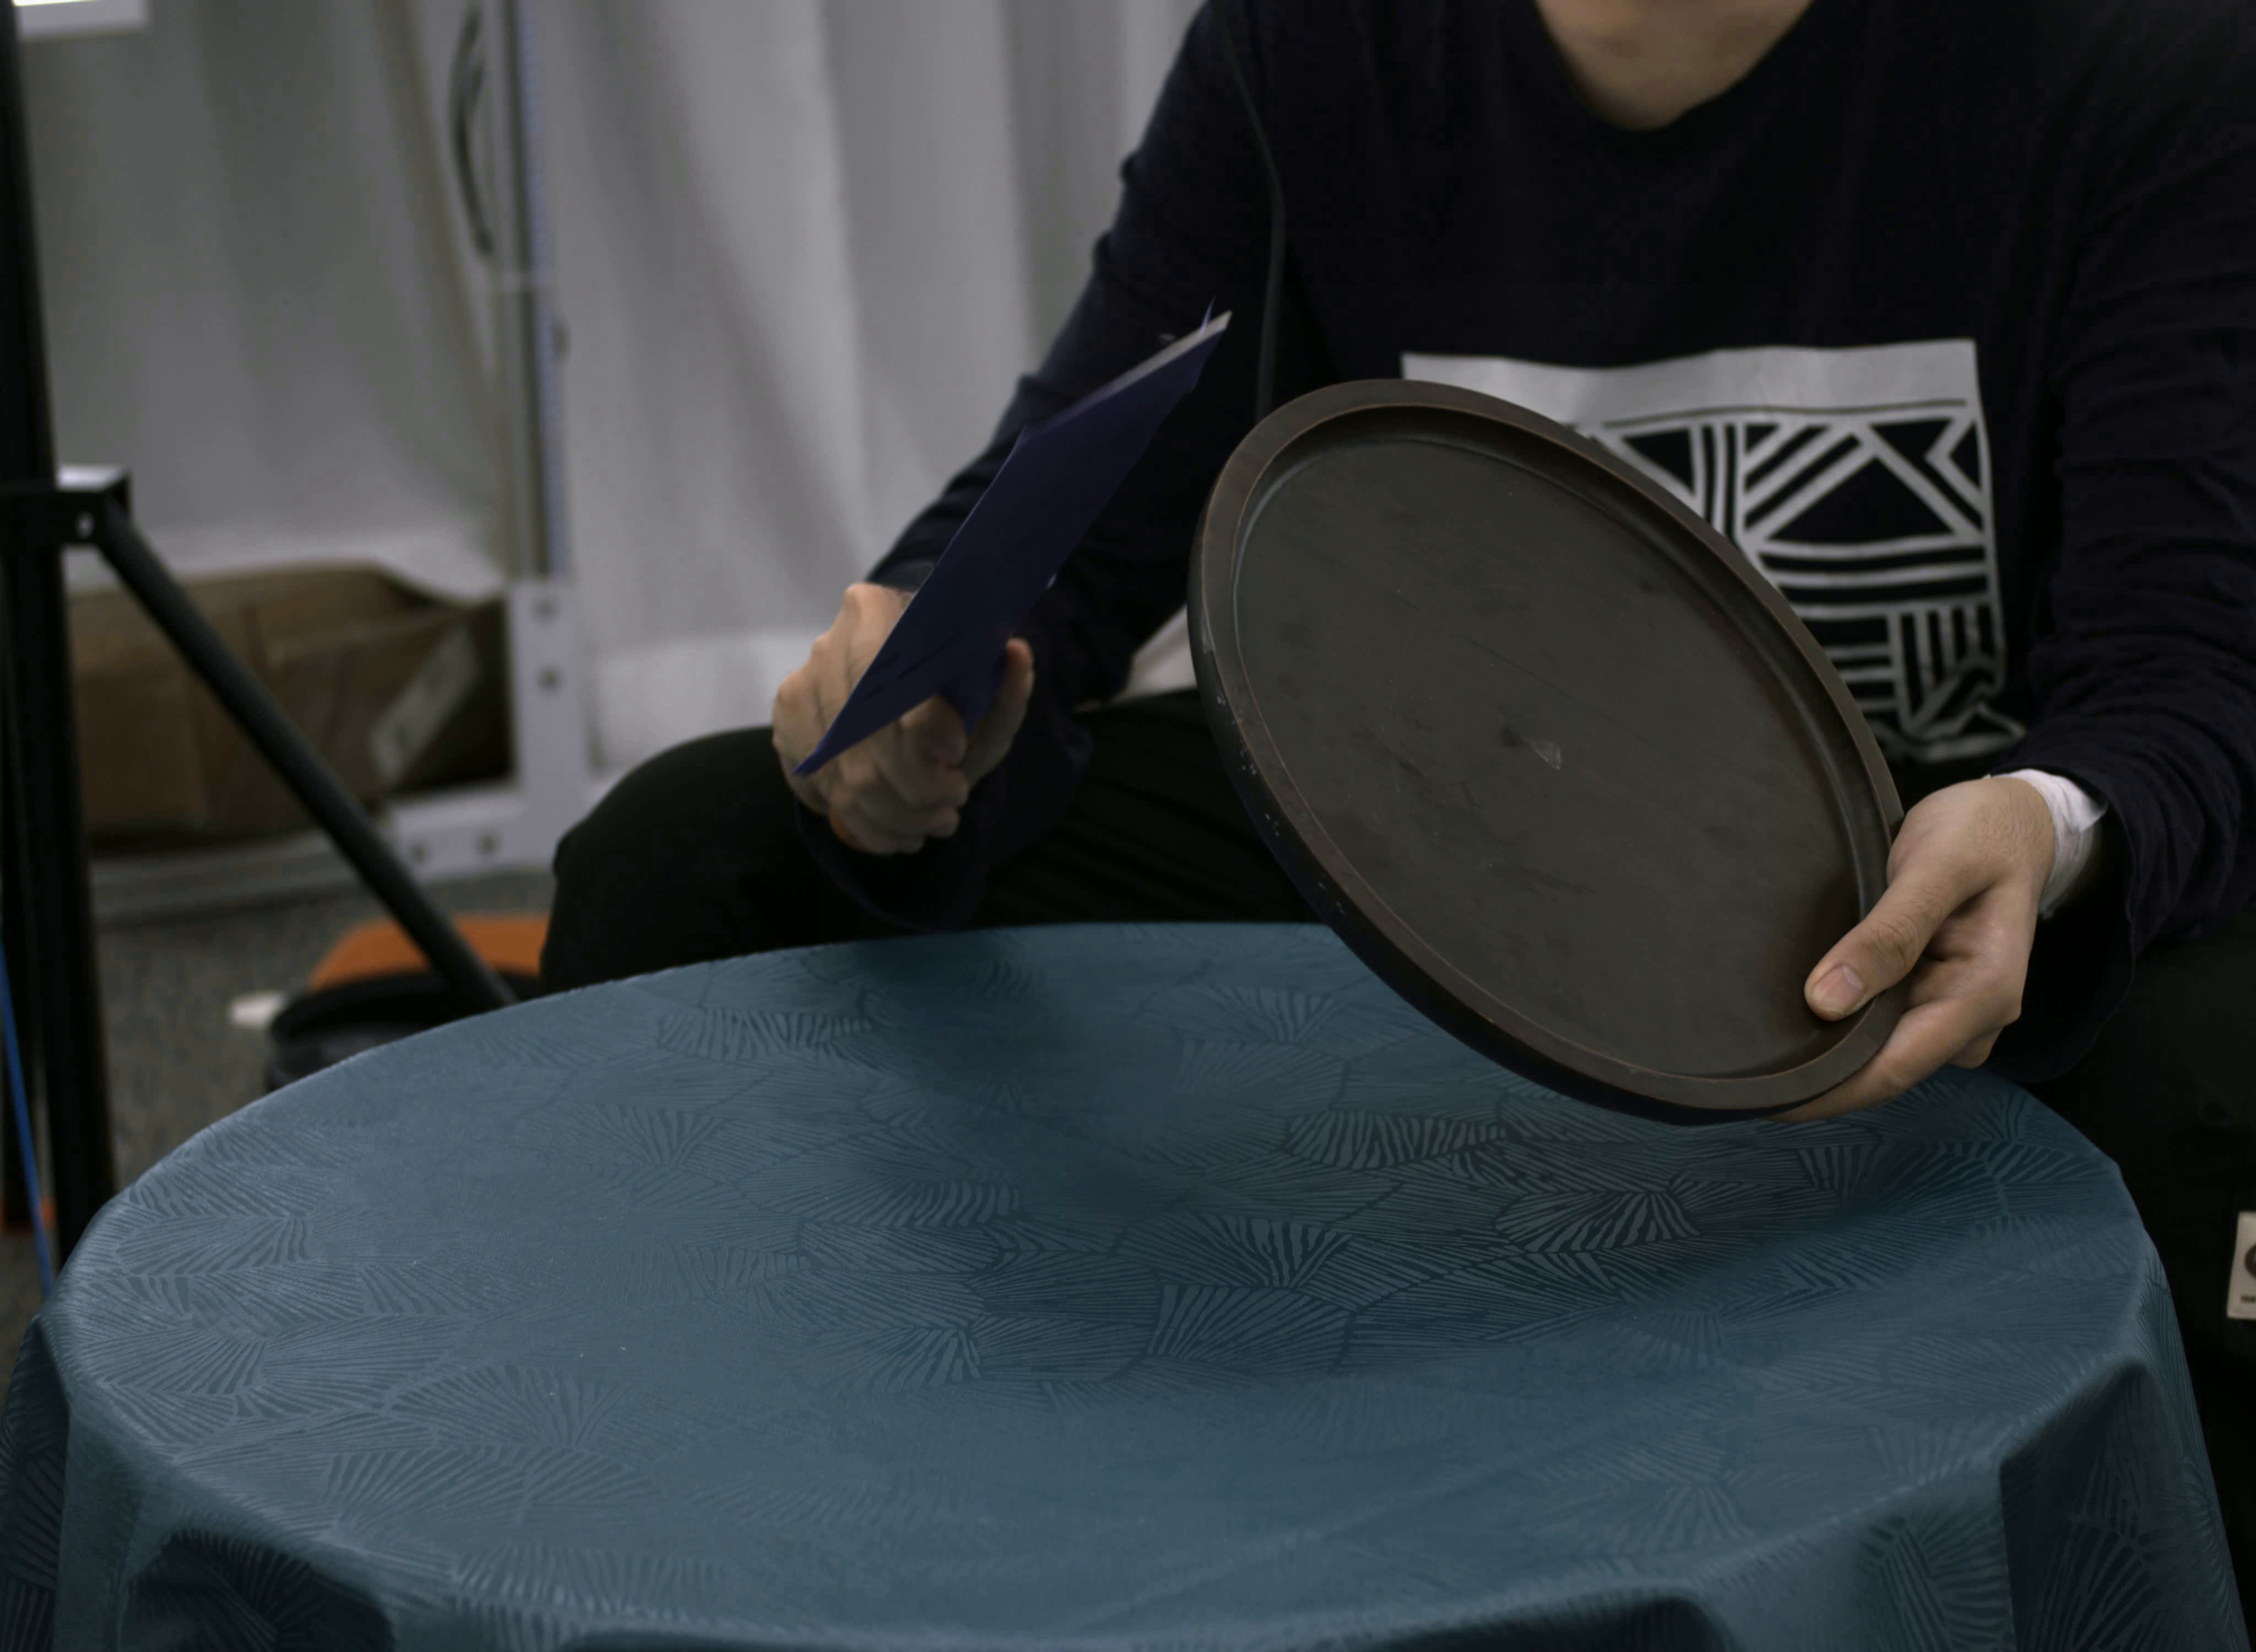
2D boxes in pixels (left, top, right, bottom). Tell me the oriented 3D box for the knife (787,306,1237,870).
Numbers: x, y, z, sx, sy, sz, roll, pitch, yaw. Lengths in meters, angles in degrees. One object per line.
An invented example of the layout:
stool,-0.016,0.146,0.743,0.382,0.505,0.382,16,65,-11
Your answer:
knife,-0.059,-0.058,1.650,0.102,0.032,0.317,-31,-14,-33

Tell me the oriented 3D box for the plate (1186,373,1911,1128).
plate,0.121,-0.022,1.519,0.249,0.258,0.029,-18,-22,-45
